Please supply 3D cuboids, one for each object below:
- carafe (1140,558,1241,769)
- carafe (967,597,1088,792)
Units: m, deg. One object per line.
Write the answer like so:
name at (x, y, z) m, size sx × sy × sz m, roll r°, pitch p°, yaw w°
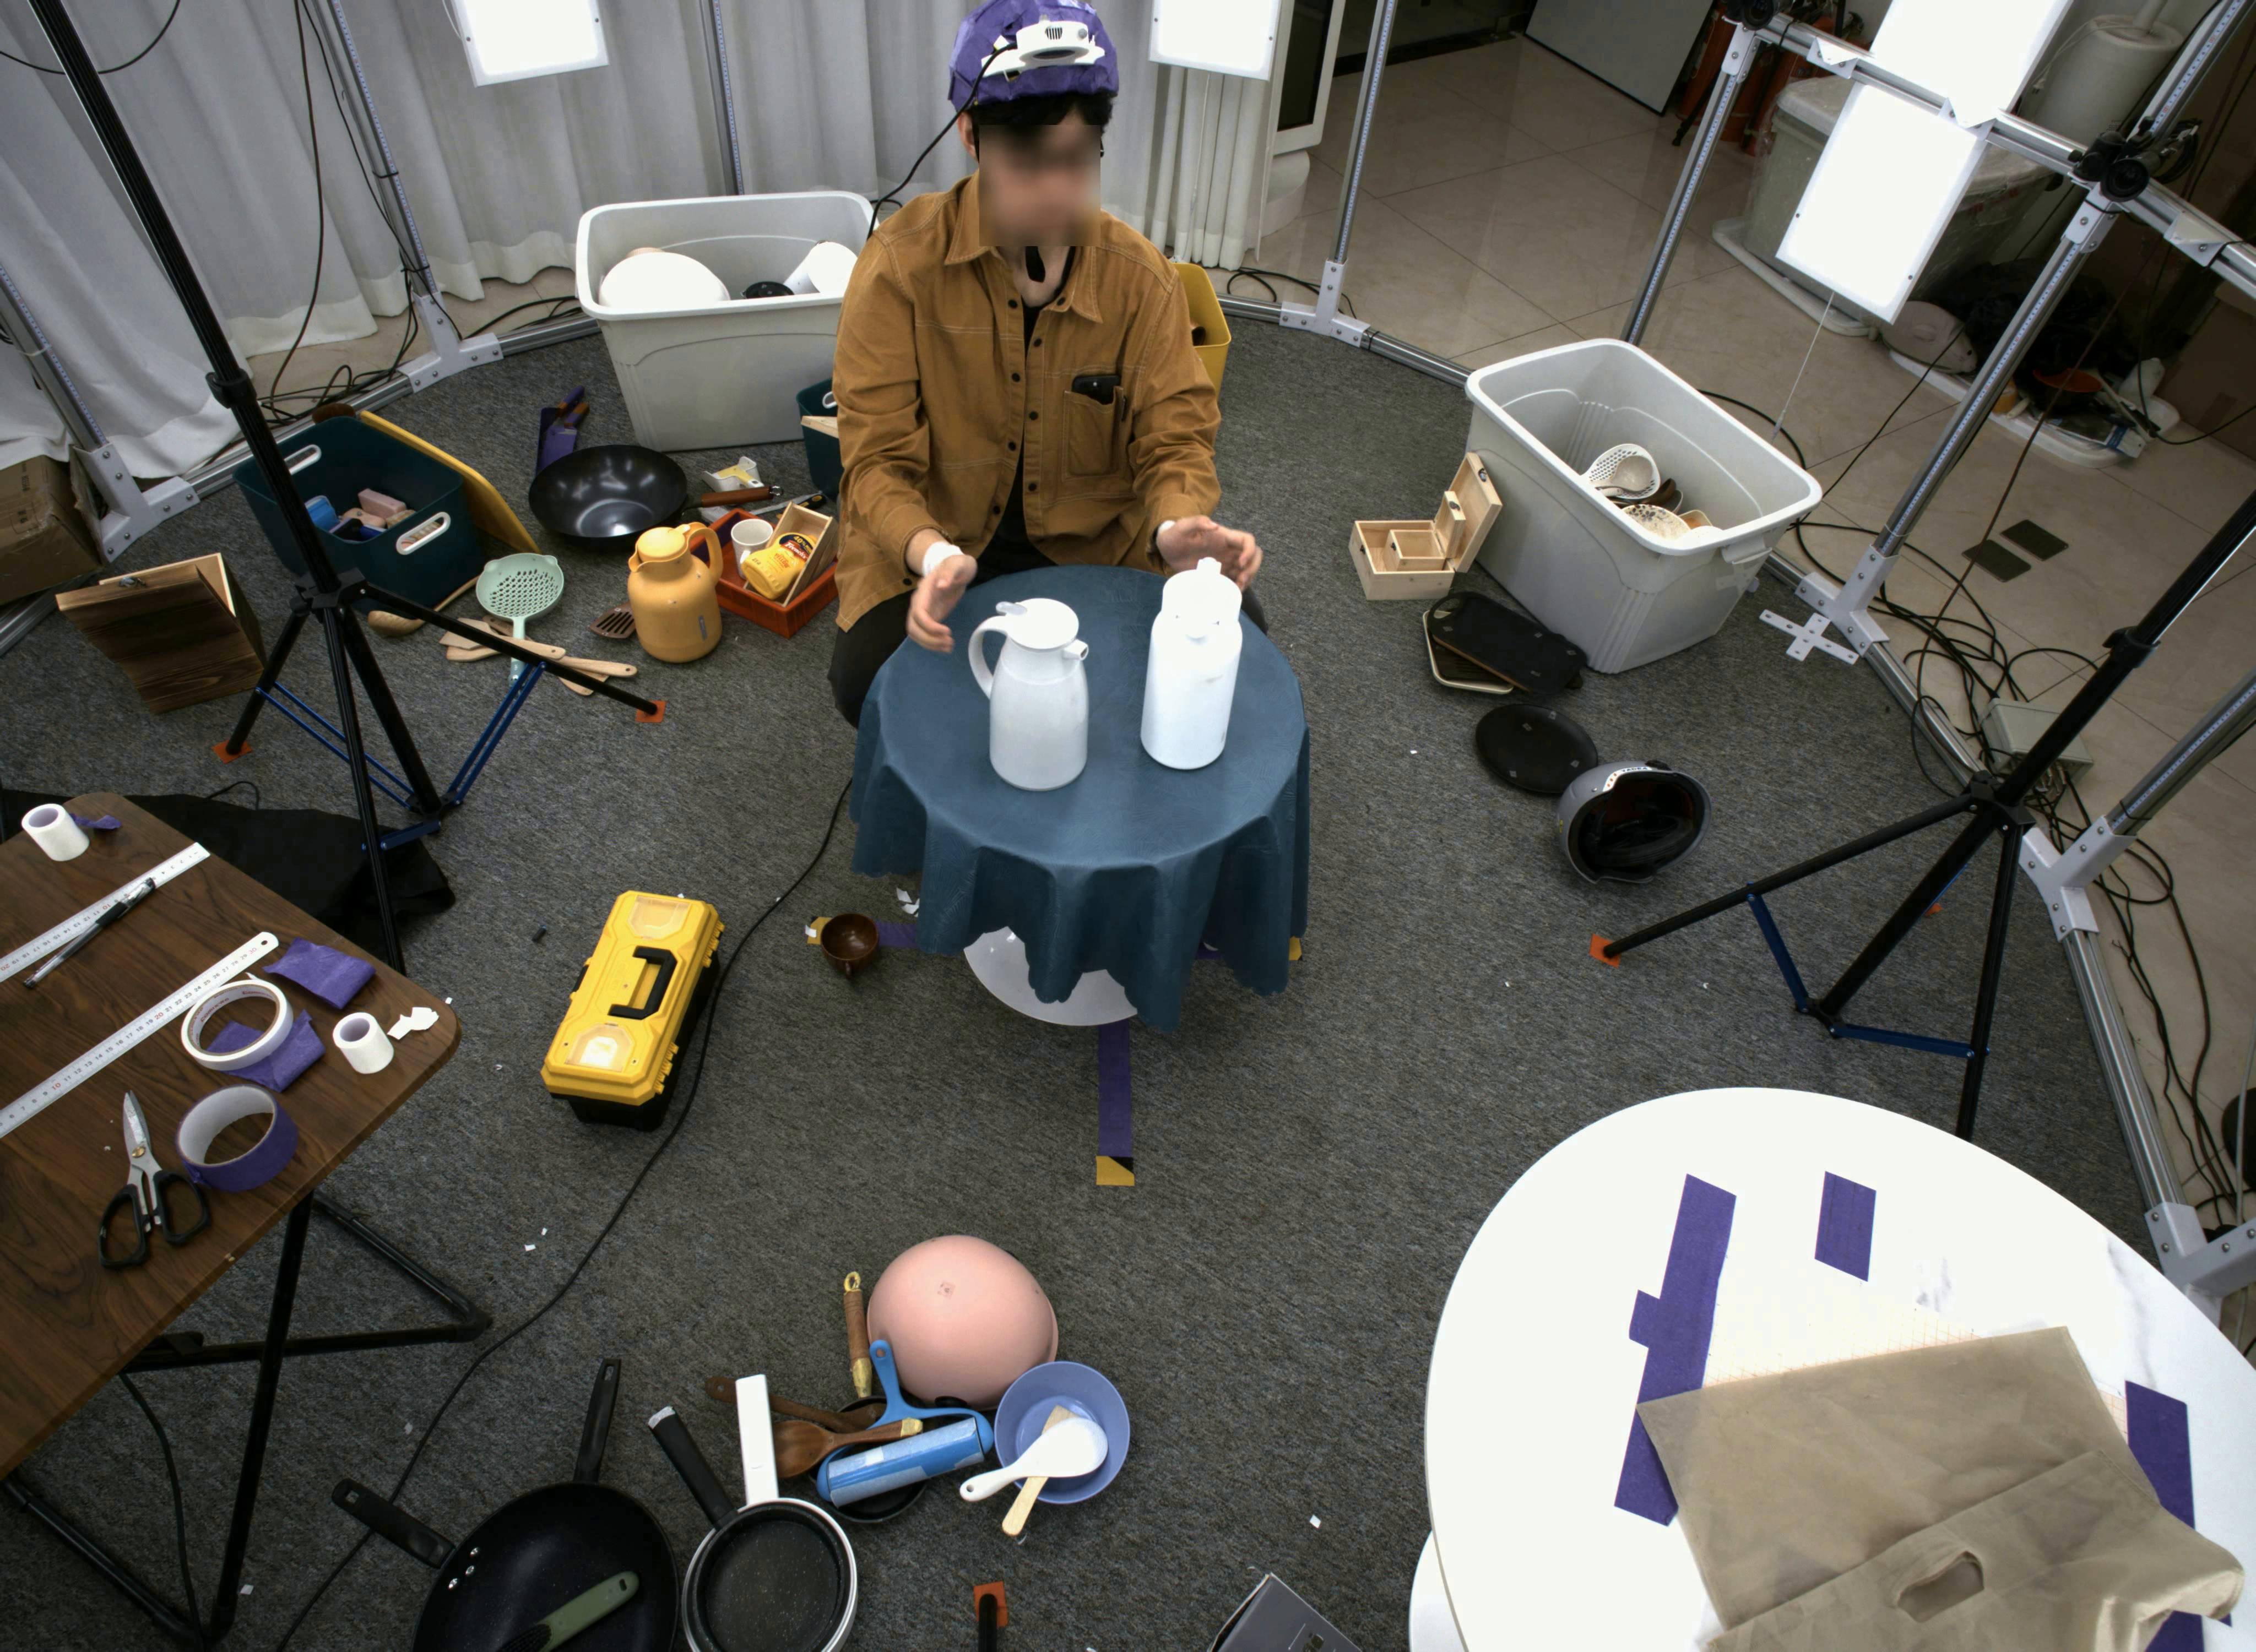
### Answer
carafe at (0.084, -0.215, 1.689) m, size 0.124 × 0.262 × 0.177 m, roll 8°, pitch 49°, yaw 5°
carafe at (-0.132, -0.181, 1.658) m, size 0.169 × 0.242 × 0.135 m, roll 24°, pitch 51°, yaw 17°
